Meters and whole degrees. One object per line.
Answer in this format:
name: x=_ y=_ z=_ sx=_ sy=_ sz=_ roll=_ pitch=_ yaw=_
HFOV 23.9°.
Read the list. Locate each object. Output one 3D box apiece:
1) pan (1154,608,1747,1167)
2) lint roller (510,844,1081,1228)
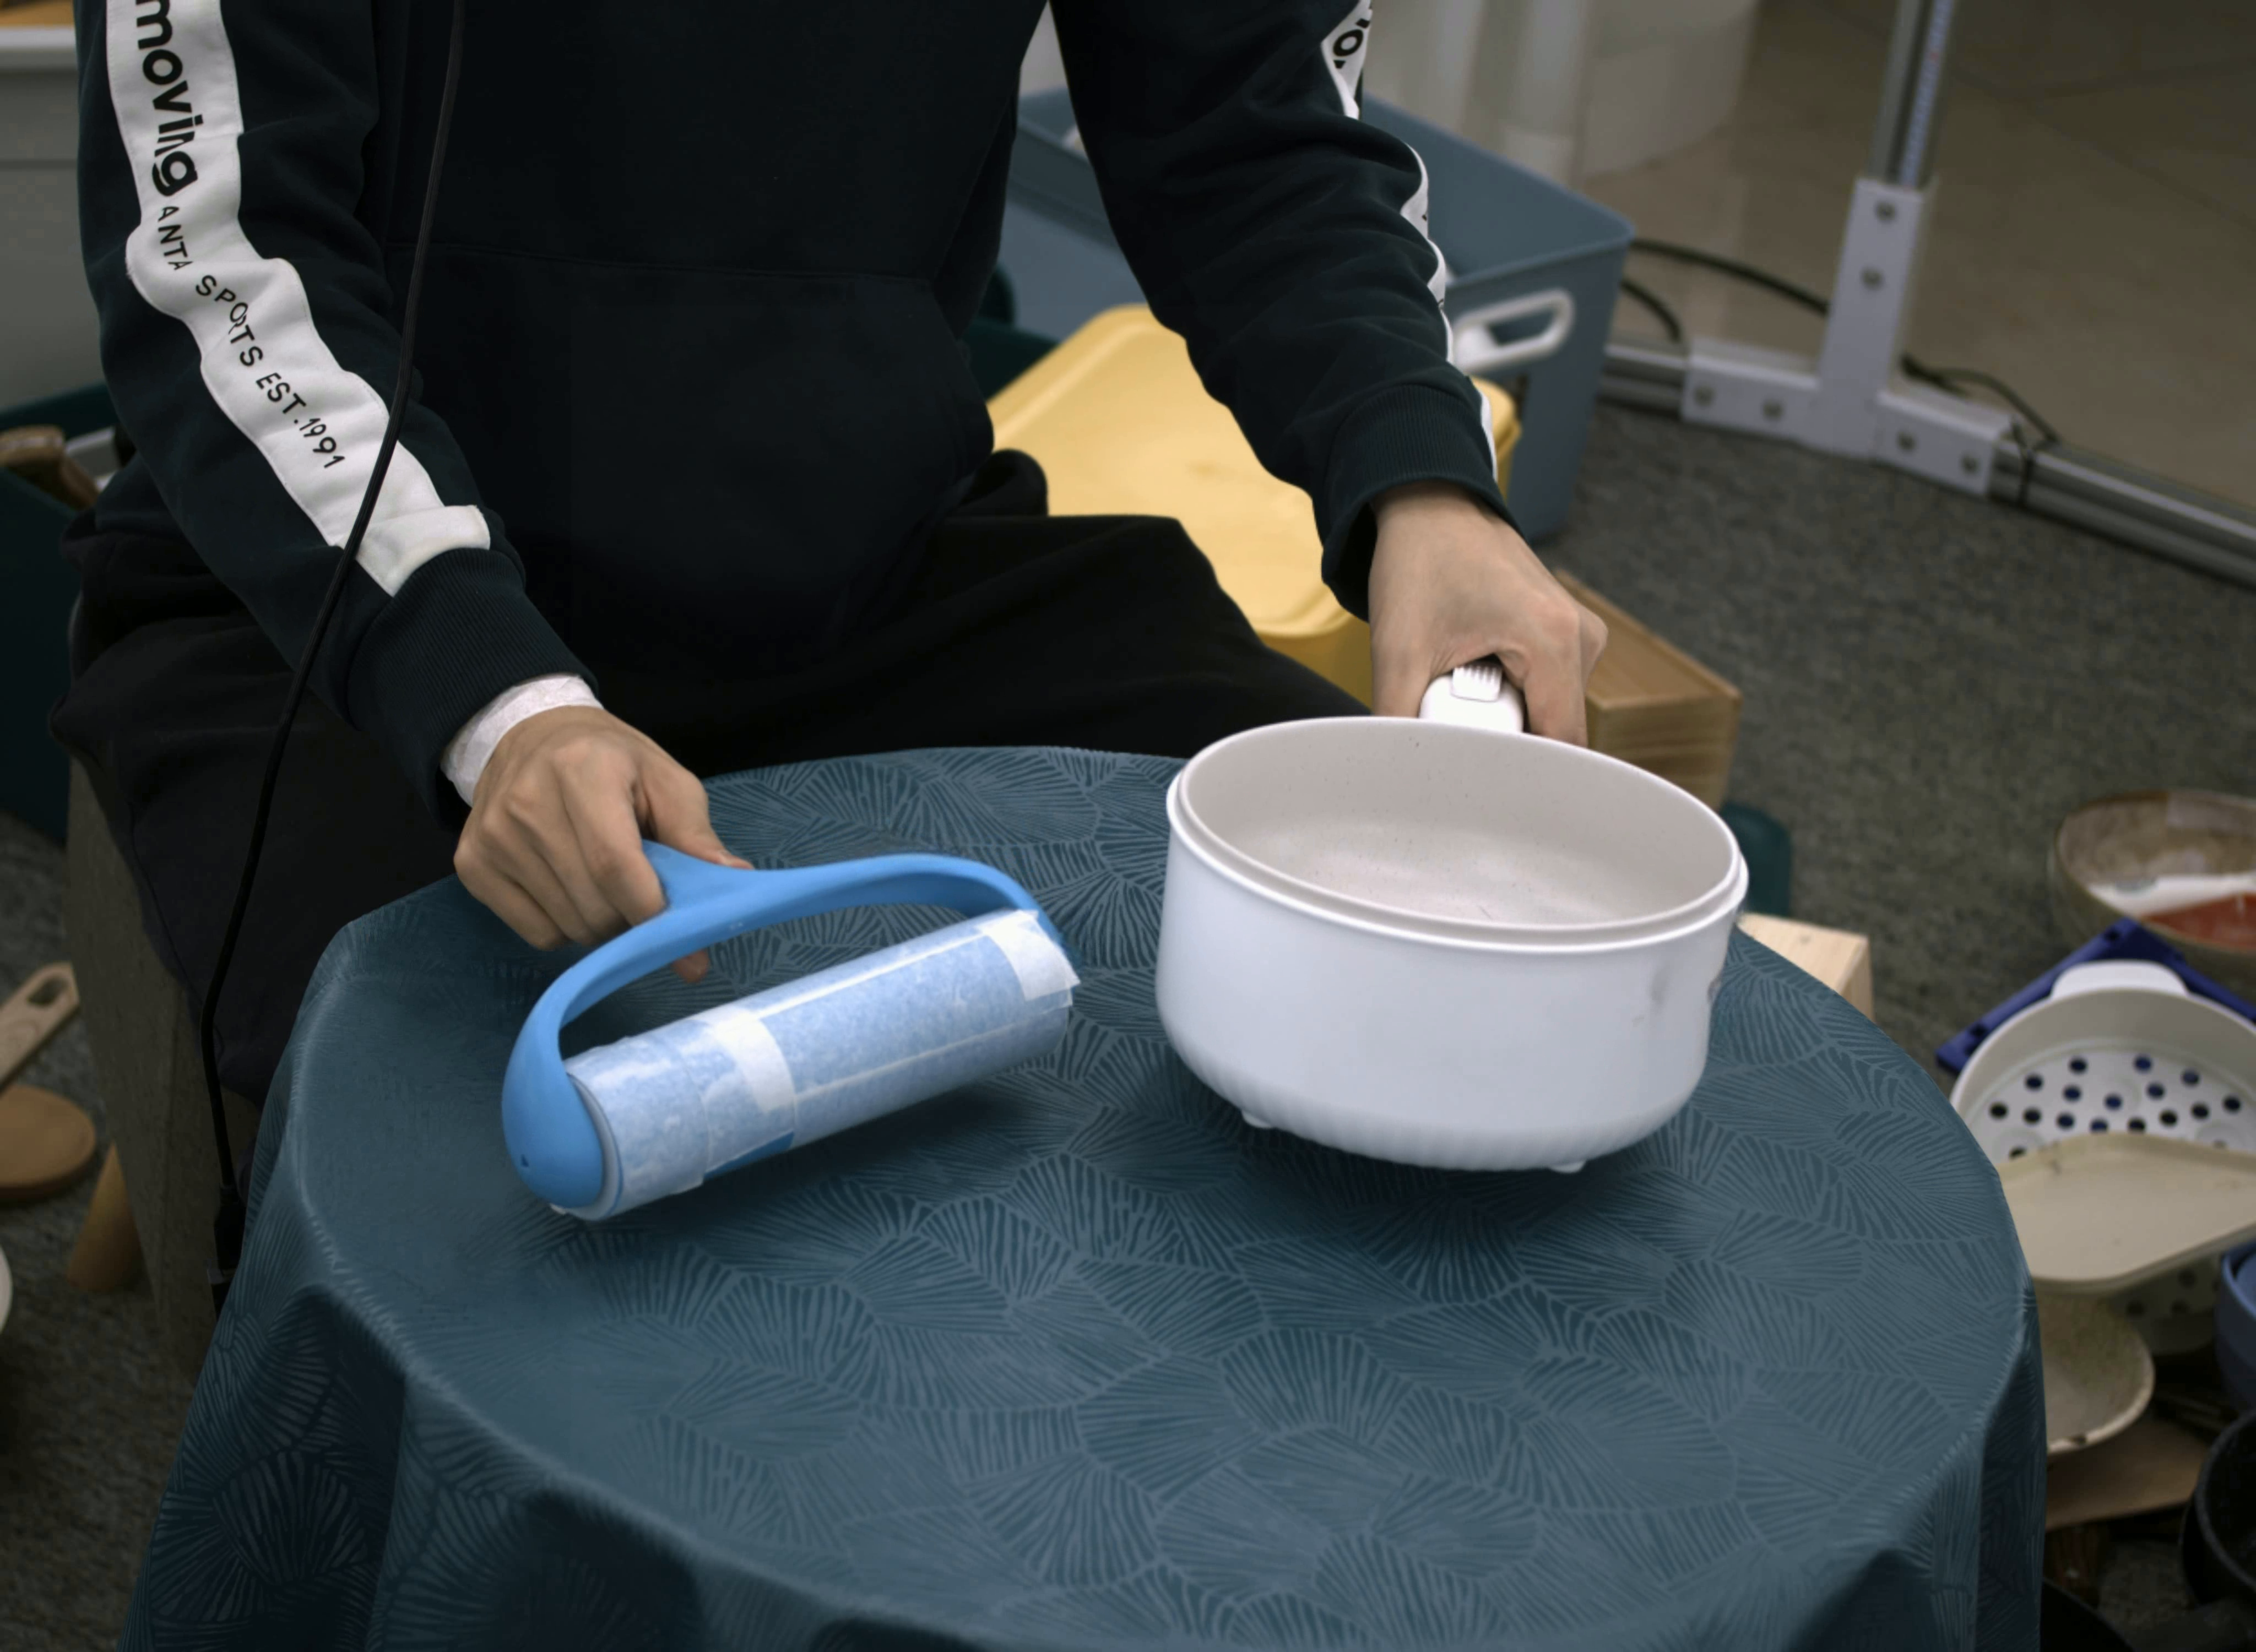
pan: x=0.116 y=0.018 z=1.908 sx=0.201 sy=0.102 sz=0.356 roll=7 pitch=19 yaw=4
lint roller: x=-0.146 y=0.046 z=1.806 sx=0.228 sy=0.067 sz=0.181 roll=-23 pitch=49 yaw=-38
